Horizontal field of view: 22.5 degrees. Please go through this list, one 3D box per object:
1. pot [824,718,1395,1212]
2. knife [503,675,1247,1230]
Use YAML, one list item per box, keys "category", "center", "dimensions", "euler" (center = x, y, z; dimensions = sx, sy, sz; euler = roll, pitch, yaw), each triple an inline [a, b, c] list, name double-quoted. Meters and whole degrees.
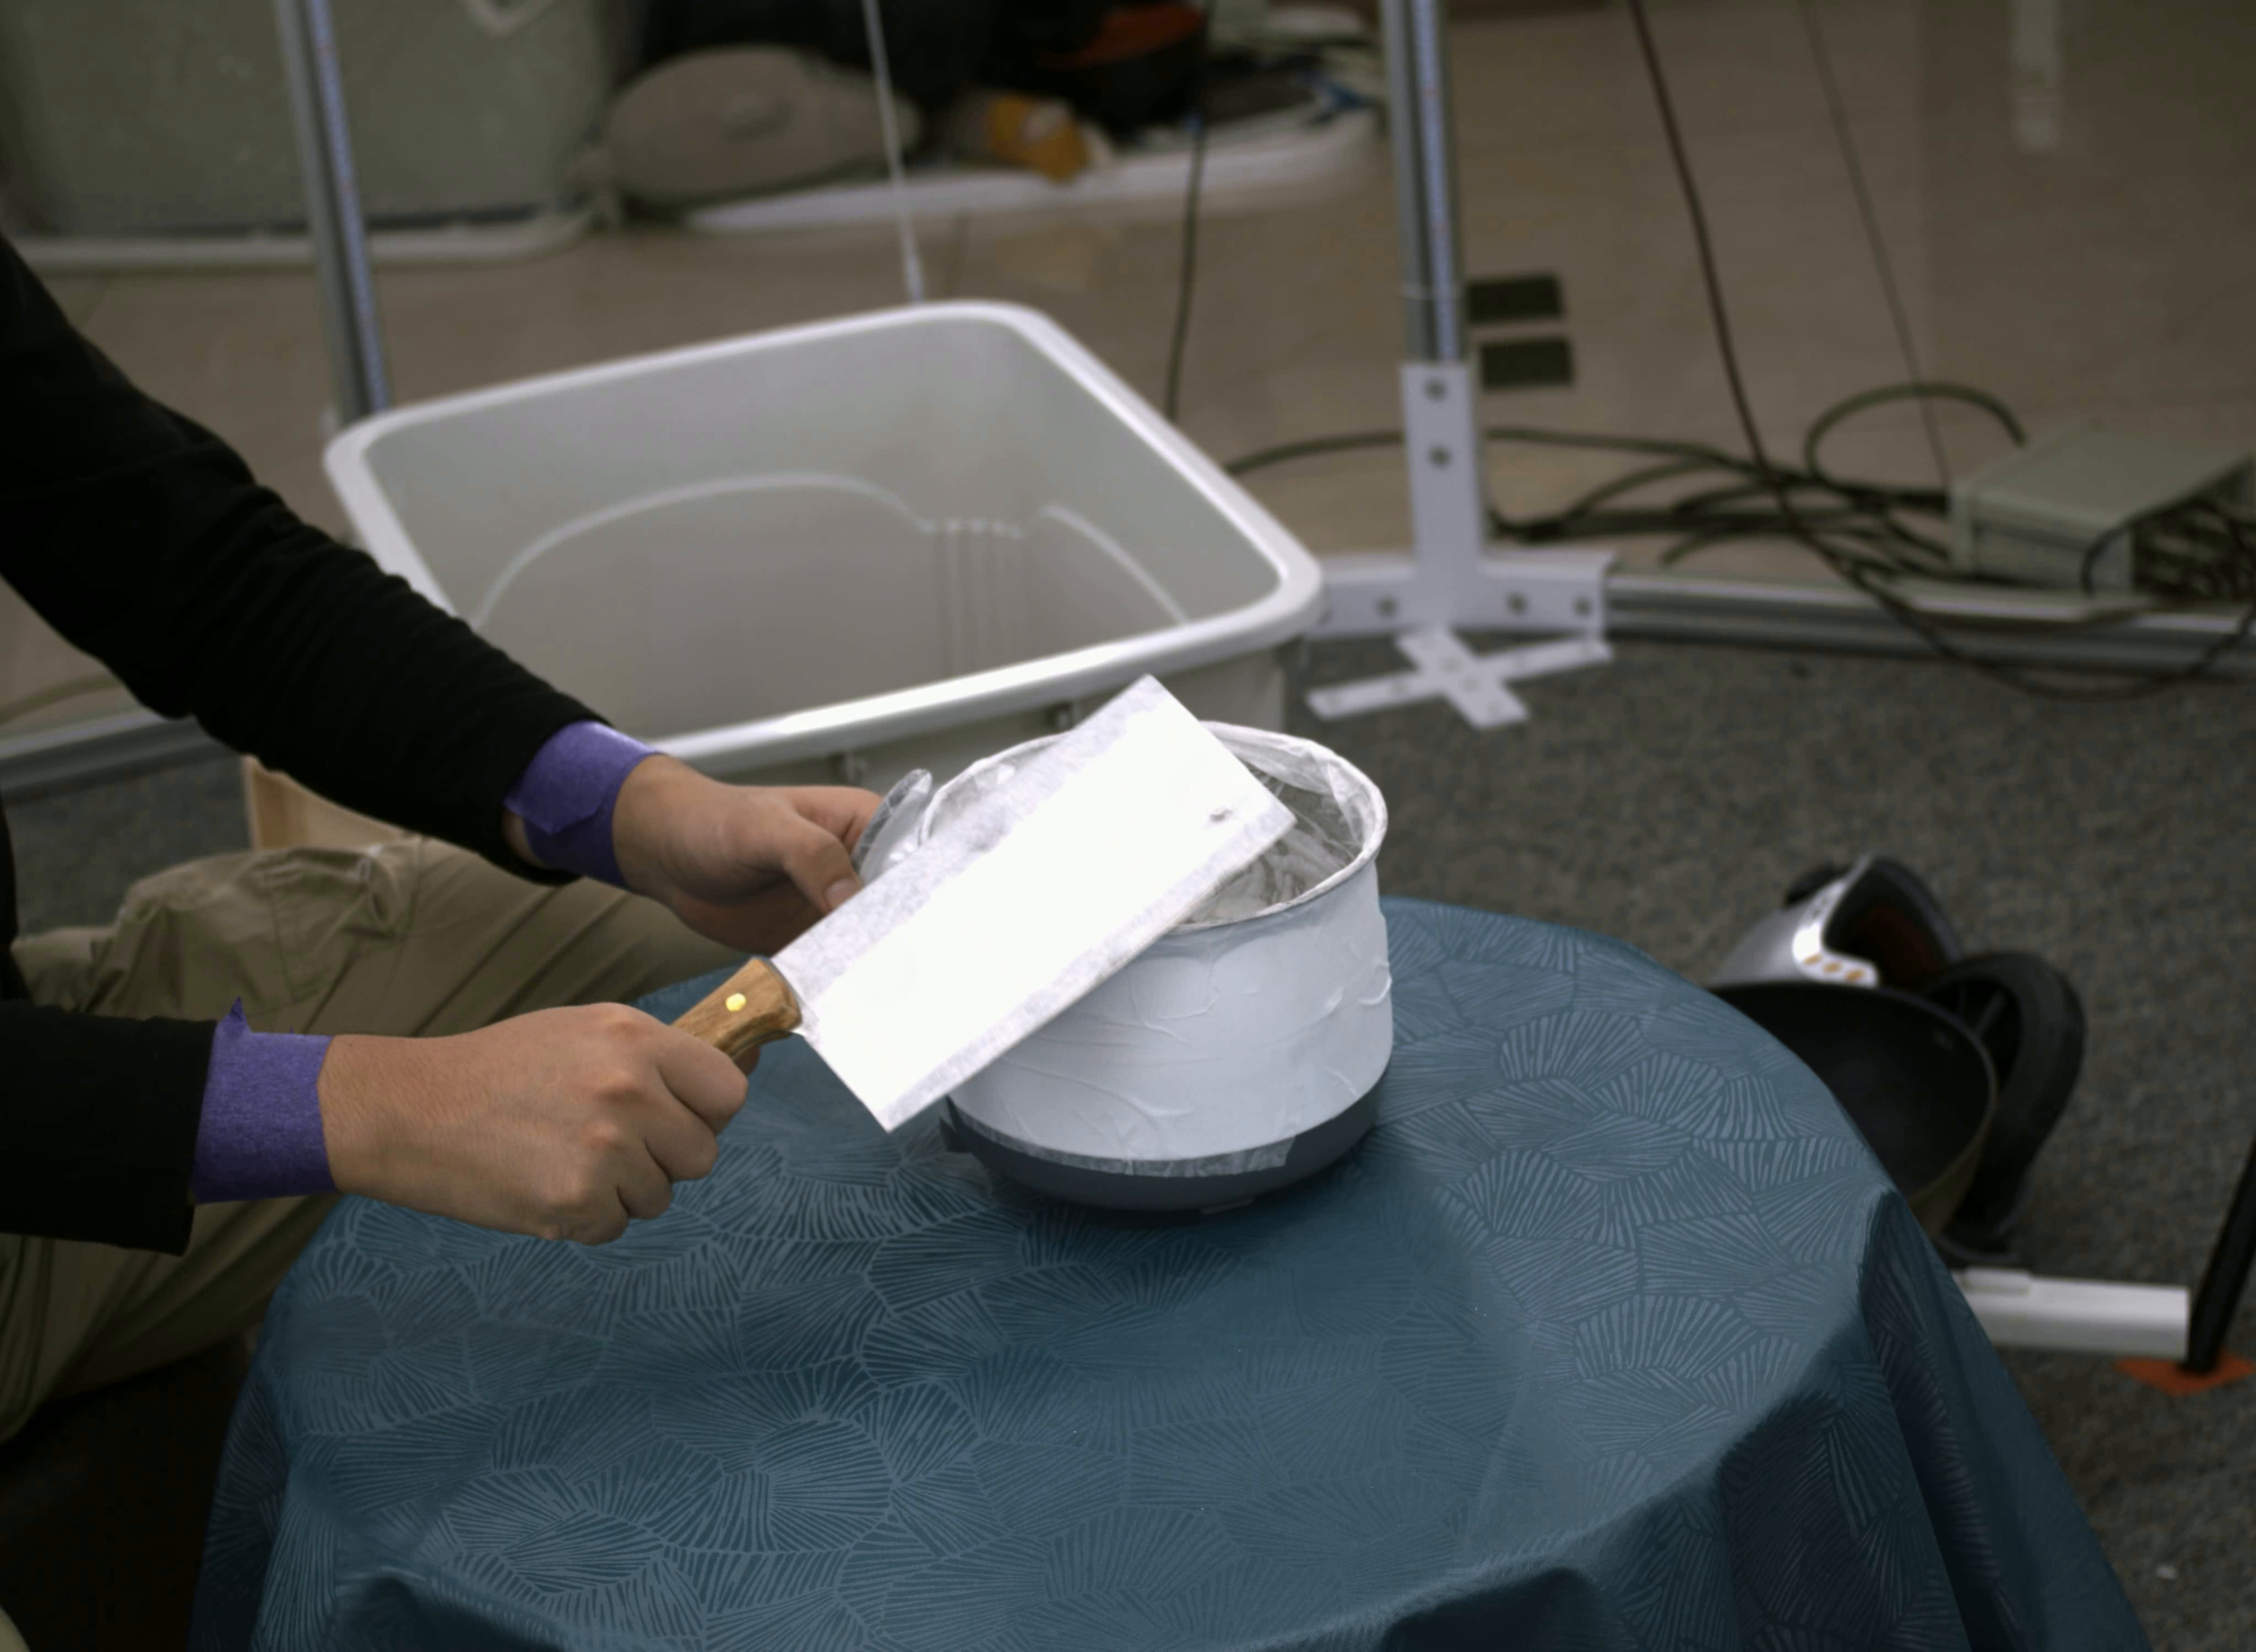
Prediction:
- category: "pot"
  center: [-0.013, 0.050, 2.164]
  dimensions: [0.233, 0.139, 0.176]
  euler: [10, 29, 22]
- category: "knife"
  center: [-0.086, 0.058, 2.053]
  dimensions: [0.304, 0.021, 0.092]
  euler: [-38, 58, -11]
